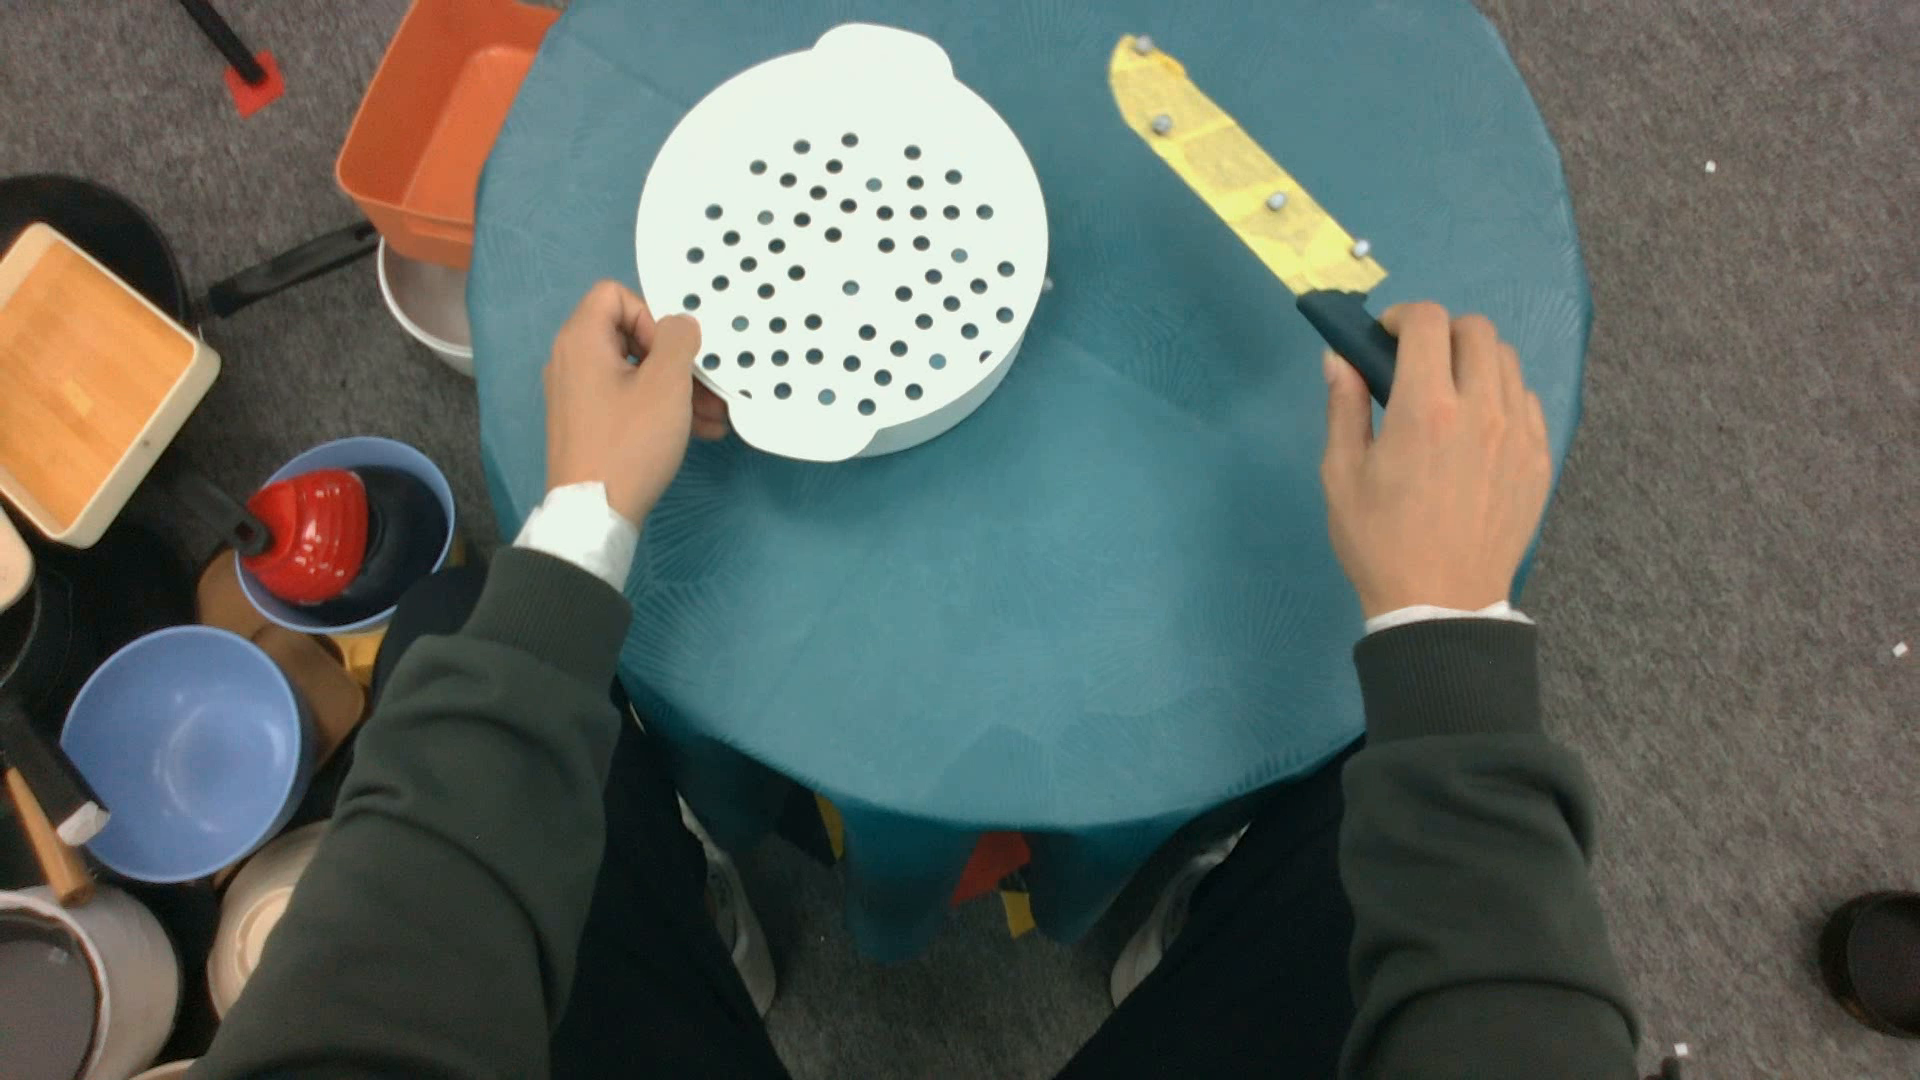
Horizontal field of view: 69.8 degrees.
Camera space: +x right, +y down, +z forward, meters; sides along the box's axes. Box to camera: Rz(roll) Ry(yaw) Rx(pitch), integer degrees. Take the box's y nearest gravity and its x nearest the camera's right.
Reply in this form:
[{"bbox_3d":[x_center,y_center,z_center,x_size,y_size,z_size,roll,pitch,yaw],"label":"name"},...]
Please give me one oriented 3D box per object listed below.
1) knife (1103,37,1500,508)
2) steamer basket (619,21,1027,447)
[{"bbox_3d":[0.162,-0.135,0.657,0.081,0.027,0.289,-28,77,-39],"label":"knife"},{"bbox_3d":[-0.068,-0.149,0.708,0.202,0.069,0.231,10,76,2],"label":"steamer basket"}]
